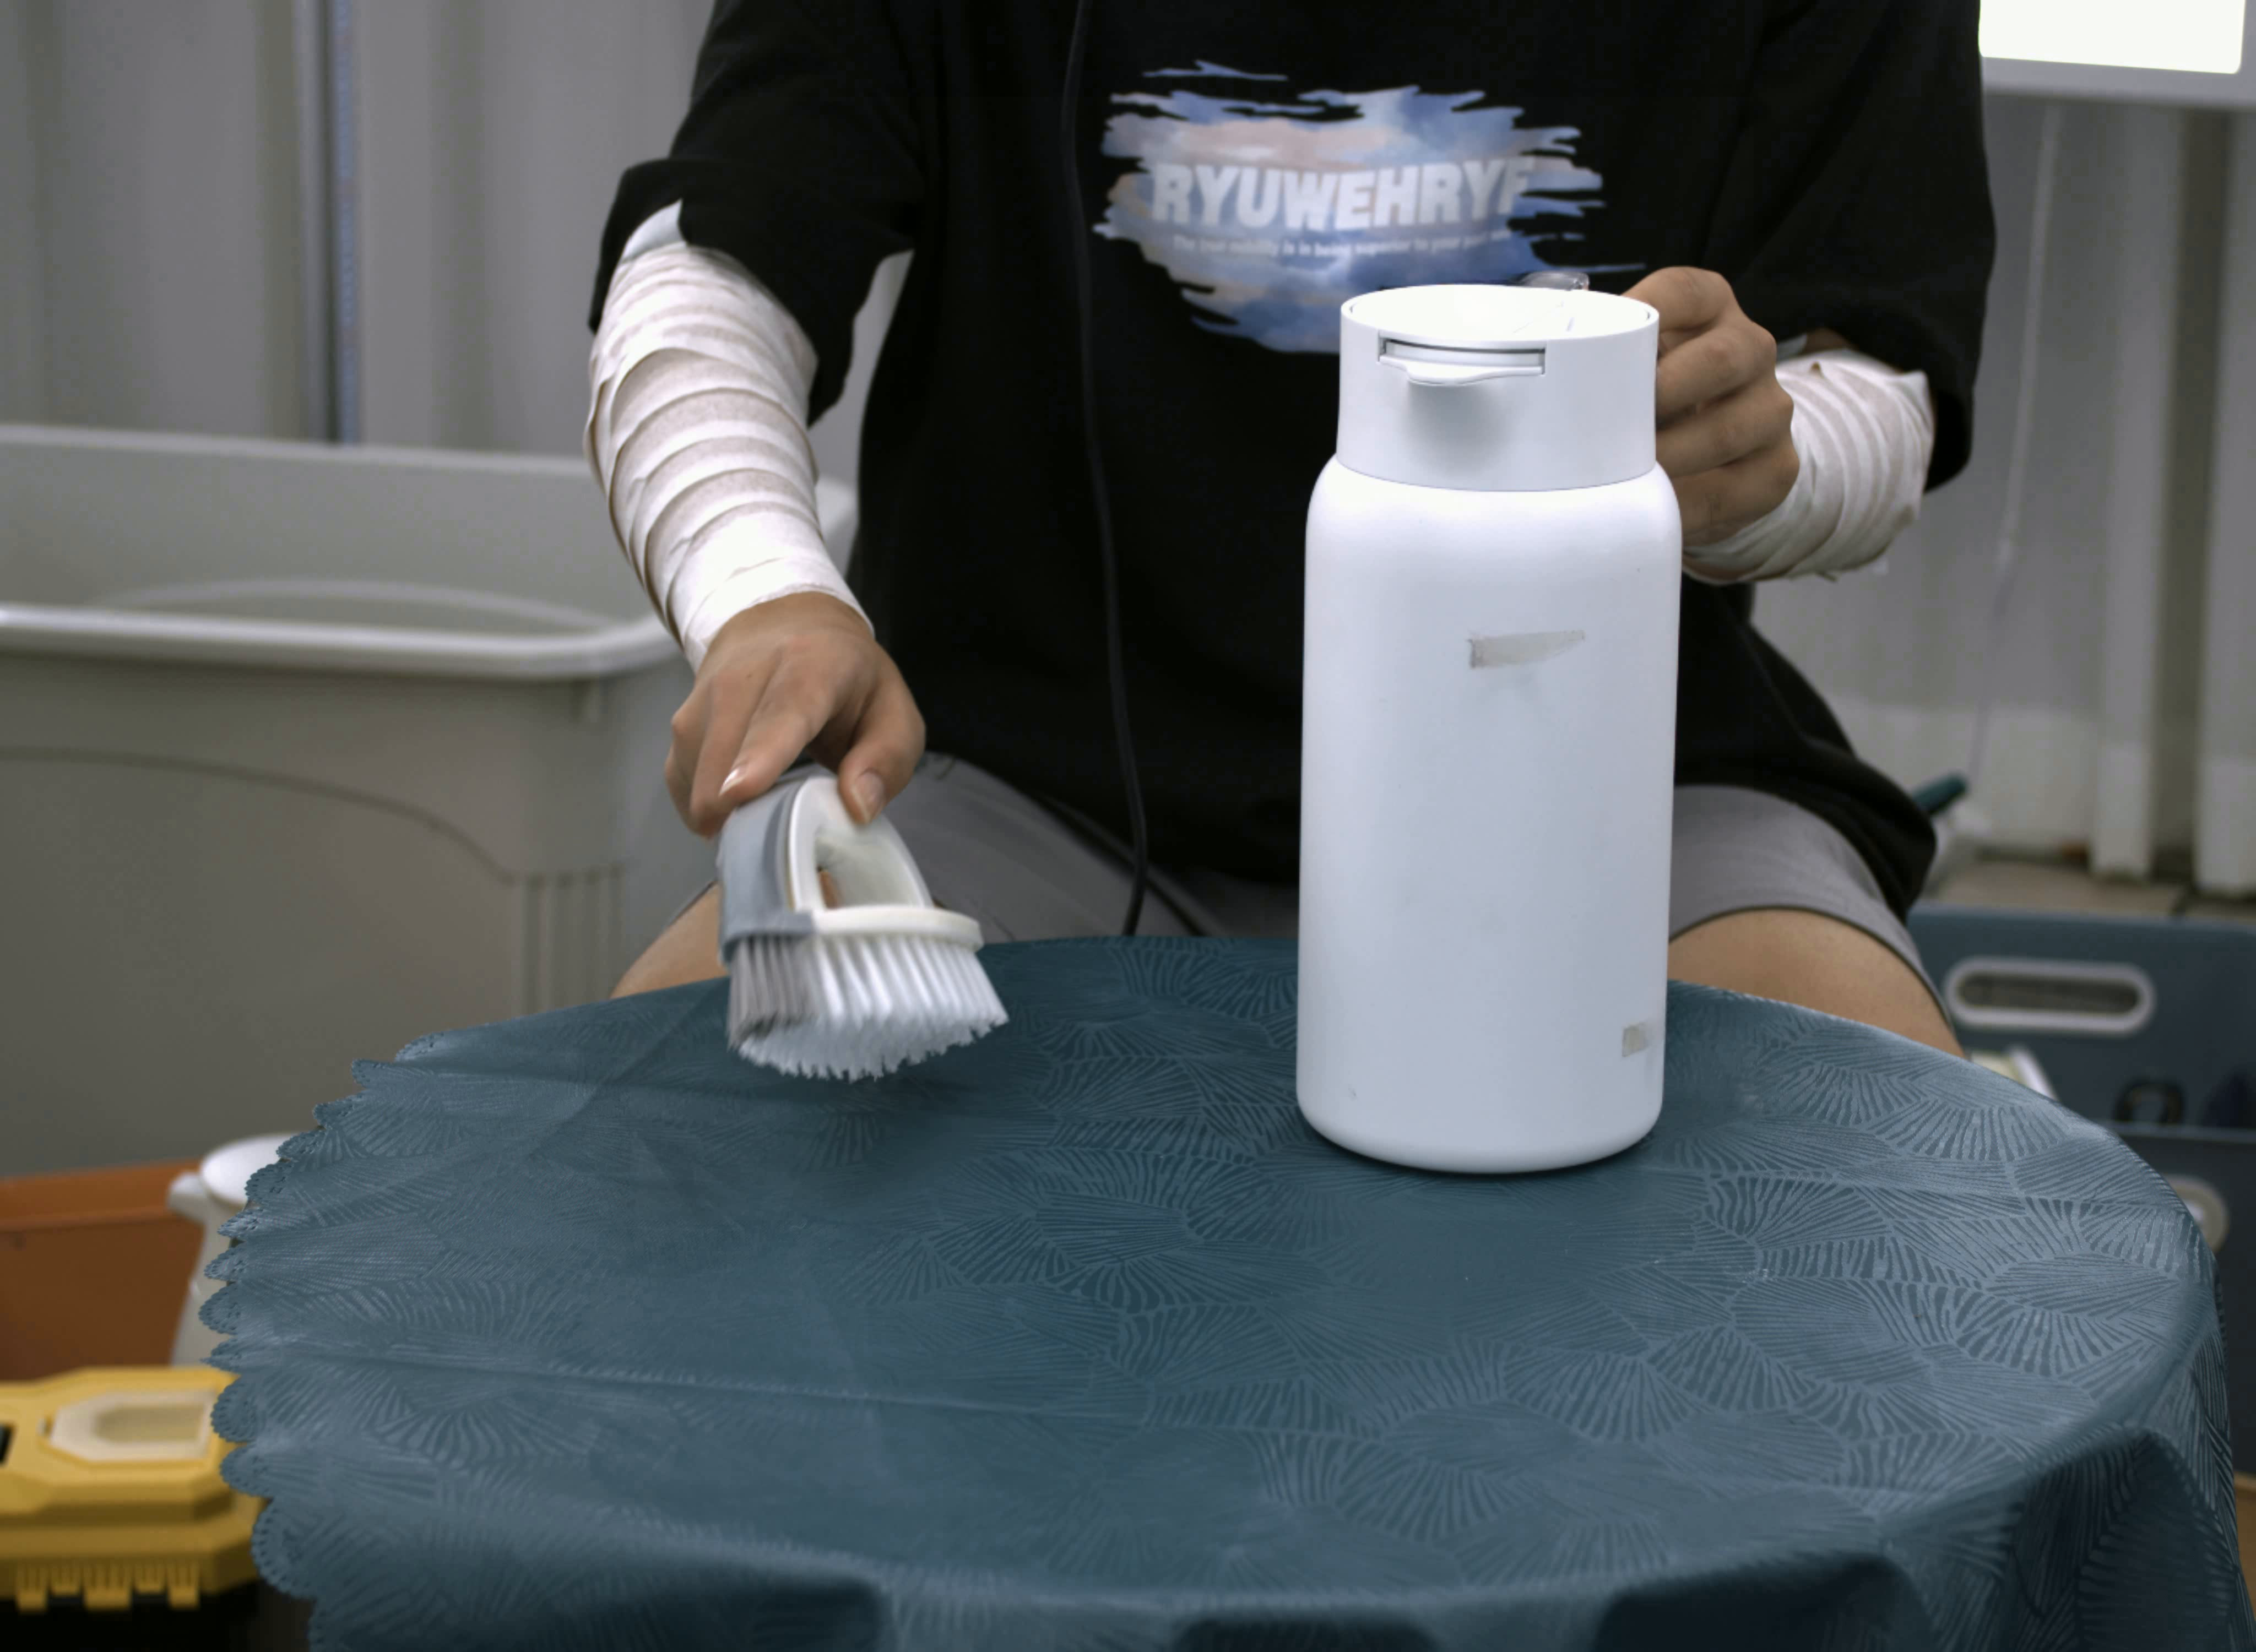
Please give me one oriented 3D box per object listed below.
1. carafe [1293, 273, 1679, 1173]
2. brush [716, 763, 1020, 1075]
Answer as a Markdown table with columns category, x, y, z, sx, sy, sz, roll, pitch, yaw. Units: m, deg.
| category | x | y | z | sx | sy | sz | roll | pitch | yaw |
| --- | --- | --- | --- | --- | --- | --- | --- | --- | --- |
| carafe | 0.116 | -0.037 | 1.667 | 0.123 | 0.271 | 0.173 | 3 | 16 | 18 |
| brush | -0.093 | 0.023 | 1.651 | 0.061 | 0.094 | 0.176 | -24 | -10 | 13 |
